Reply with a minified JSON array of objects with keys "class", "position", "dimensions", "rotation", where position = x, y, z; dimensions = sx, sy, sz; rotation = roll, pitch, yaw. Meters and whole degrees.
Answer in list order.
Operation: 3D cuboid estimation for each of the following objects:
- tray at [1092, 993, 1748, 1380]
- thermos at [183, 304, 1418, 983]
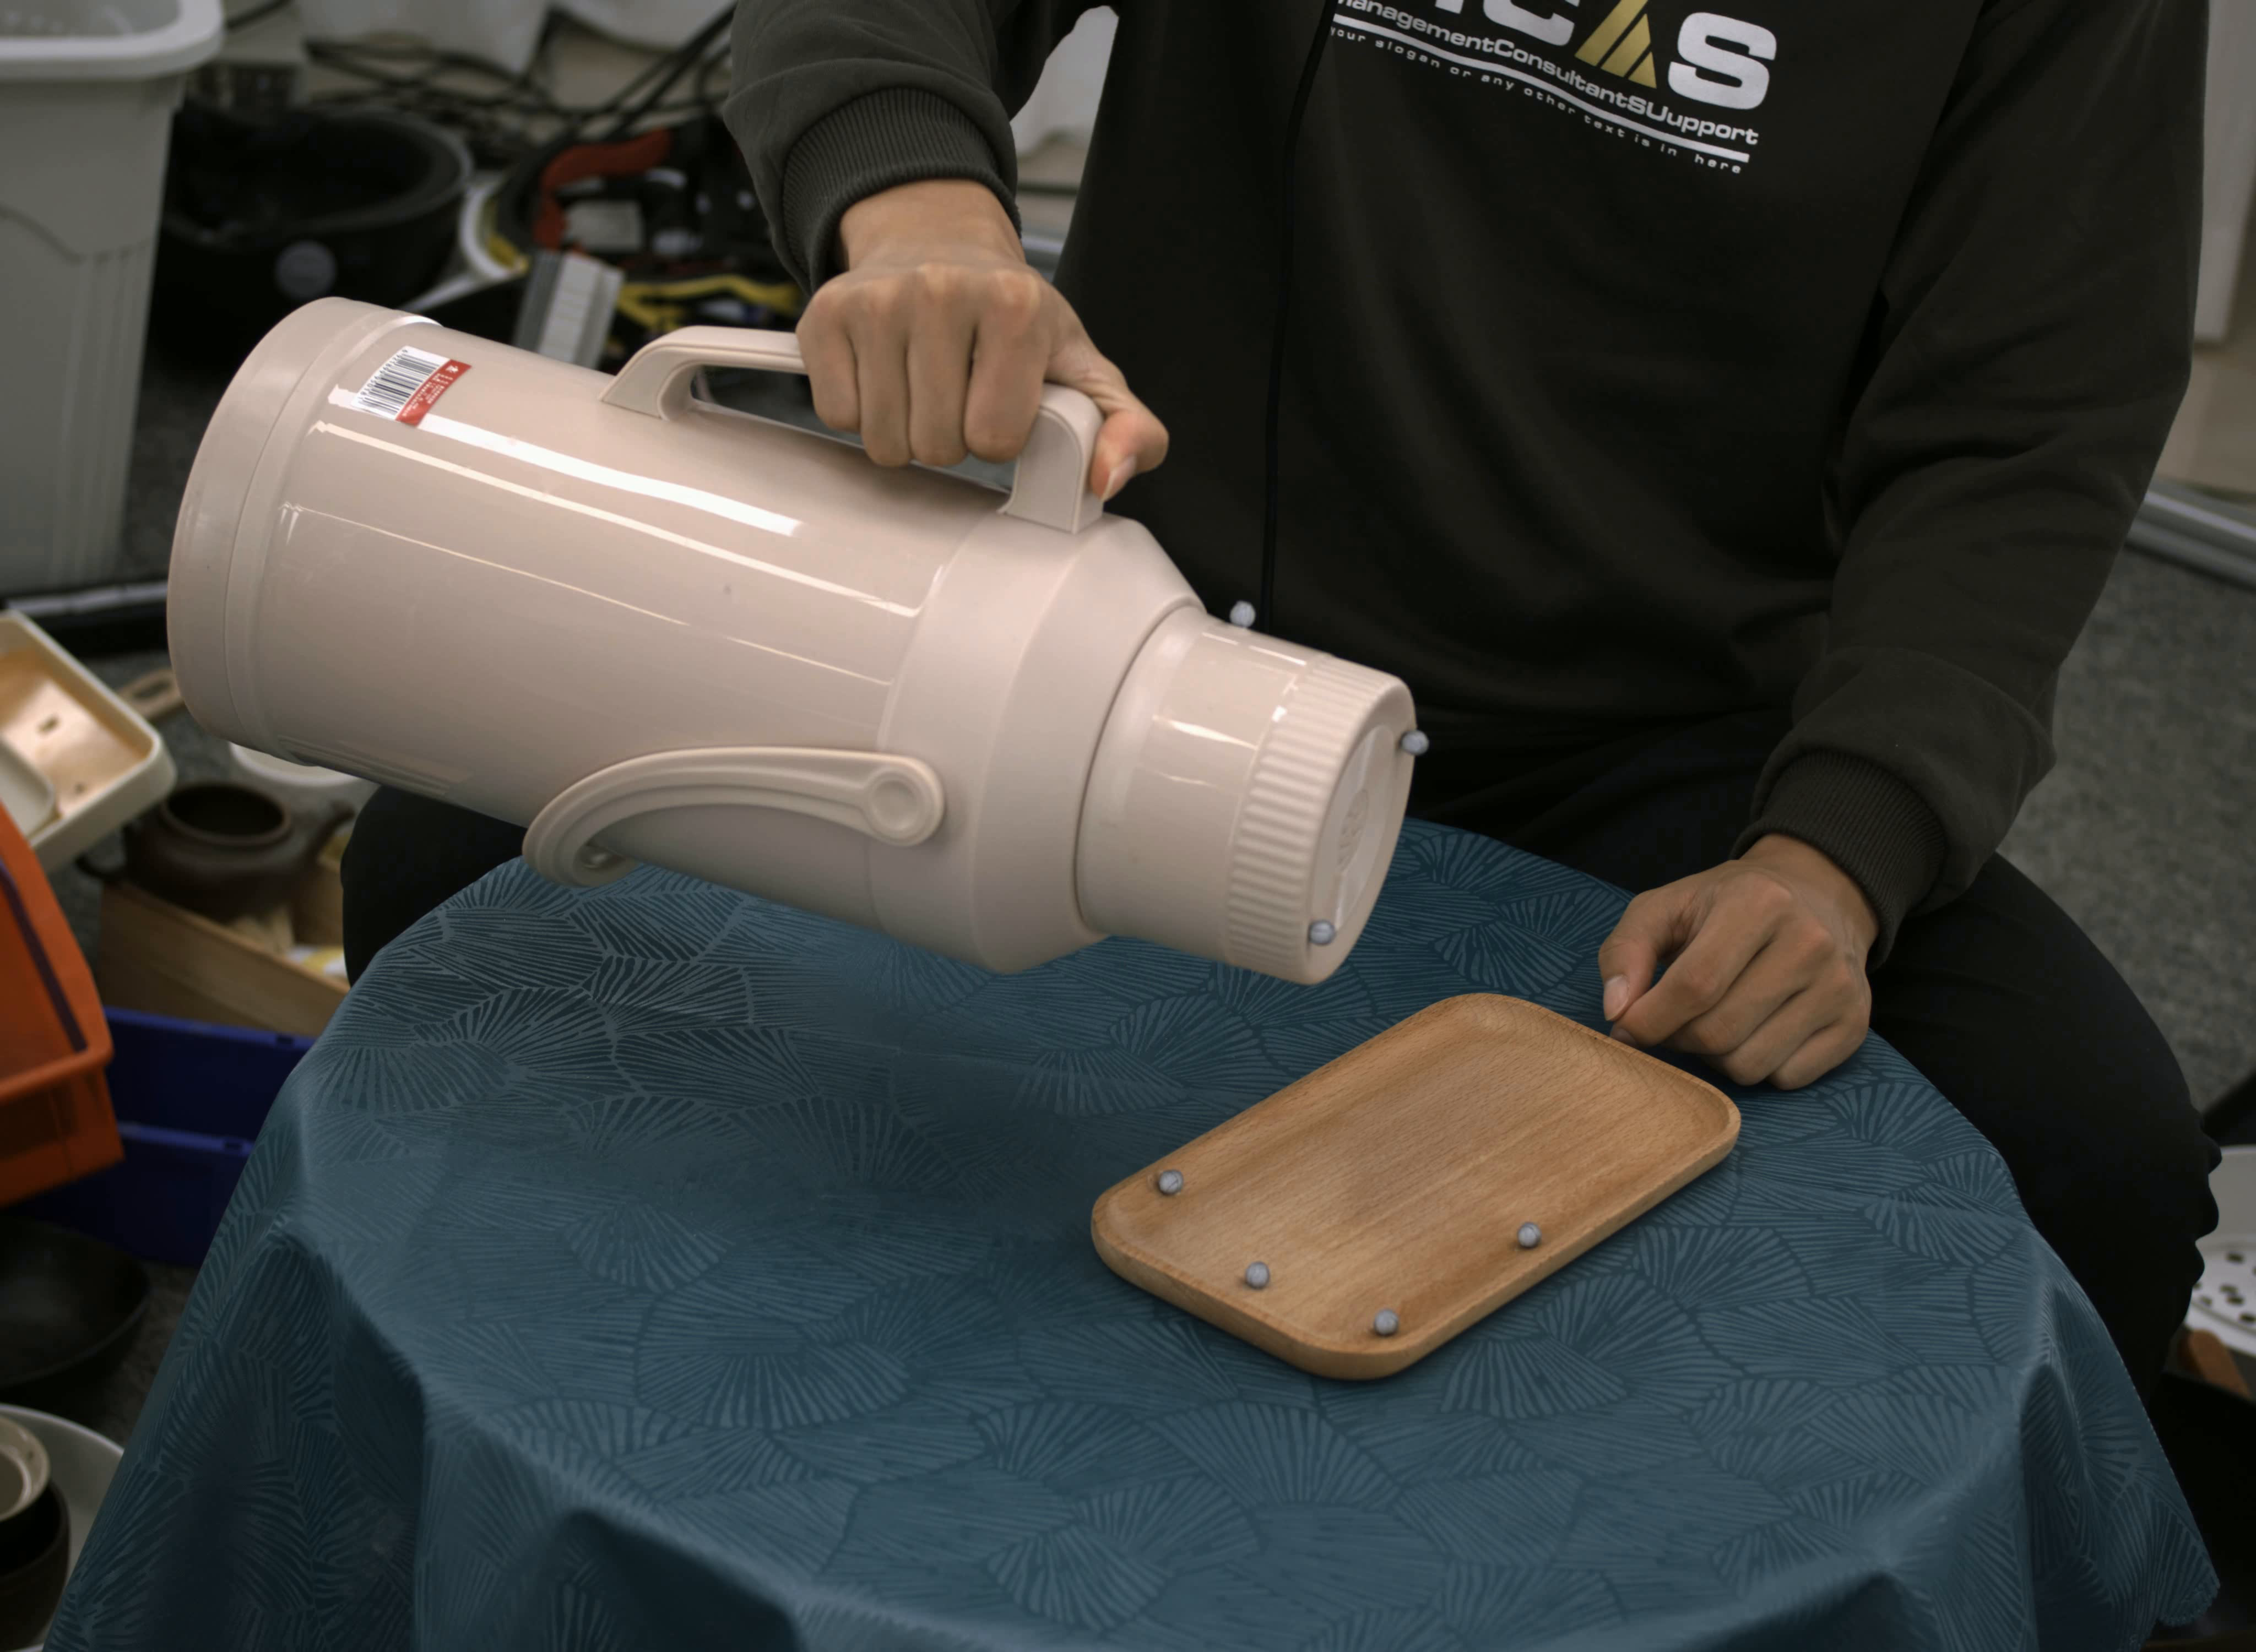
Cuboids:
[{"class":"tray","position":[0.102,0.121,1.819],"dimensions":[0.131,0.023,0.250],"rotation":[27,32,30]},{"class":"thermos","position":[-0.105,-0.066,1.782],"dimensions":[0.407,0.206,0.175],"rotation":[17,23,19]}]
